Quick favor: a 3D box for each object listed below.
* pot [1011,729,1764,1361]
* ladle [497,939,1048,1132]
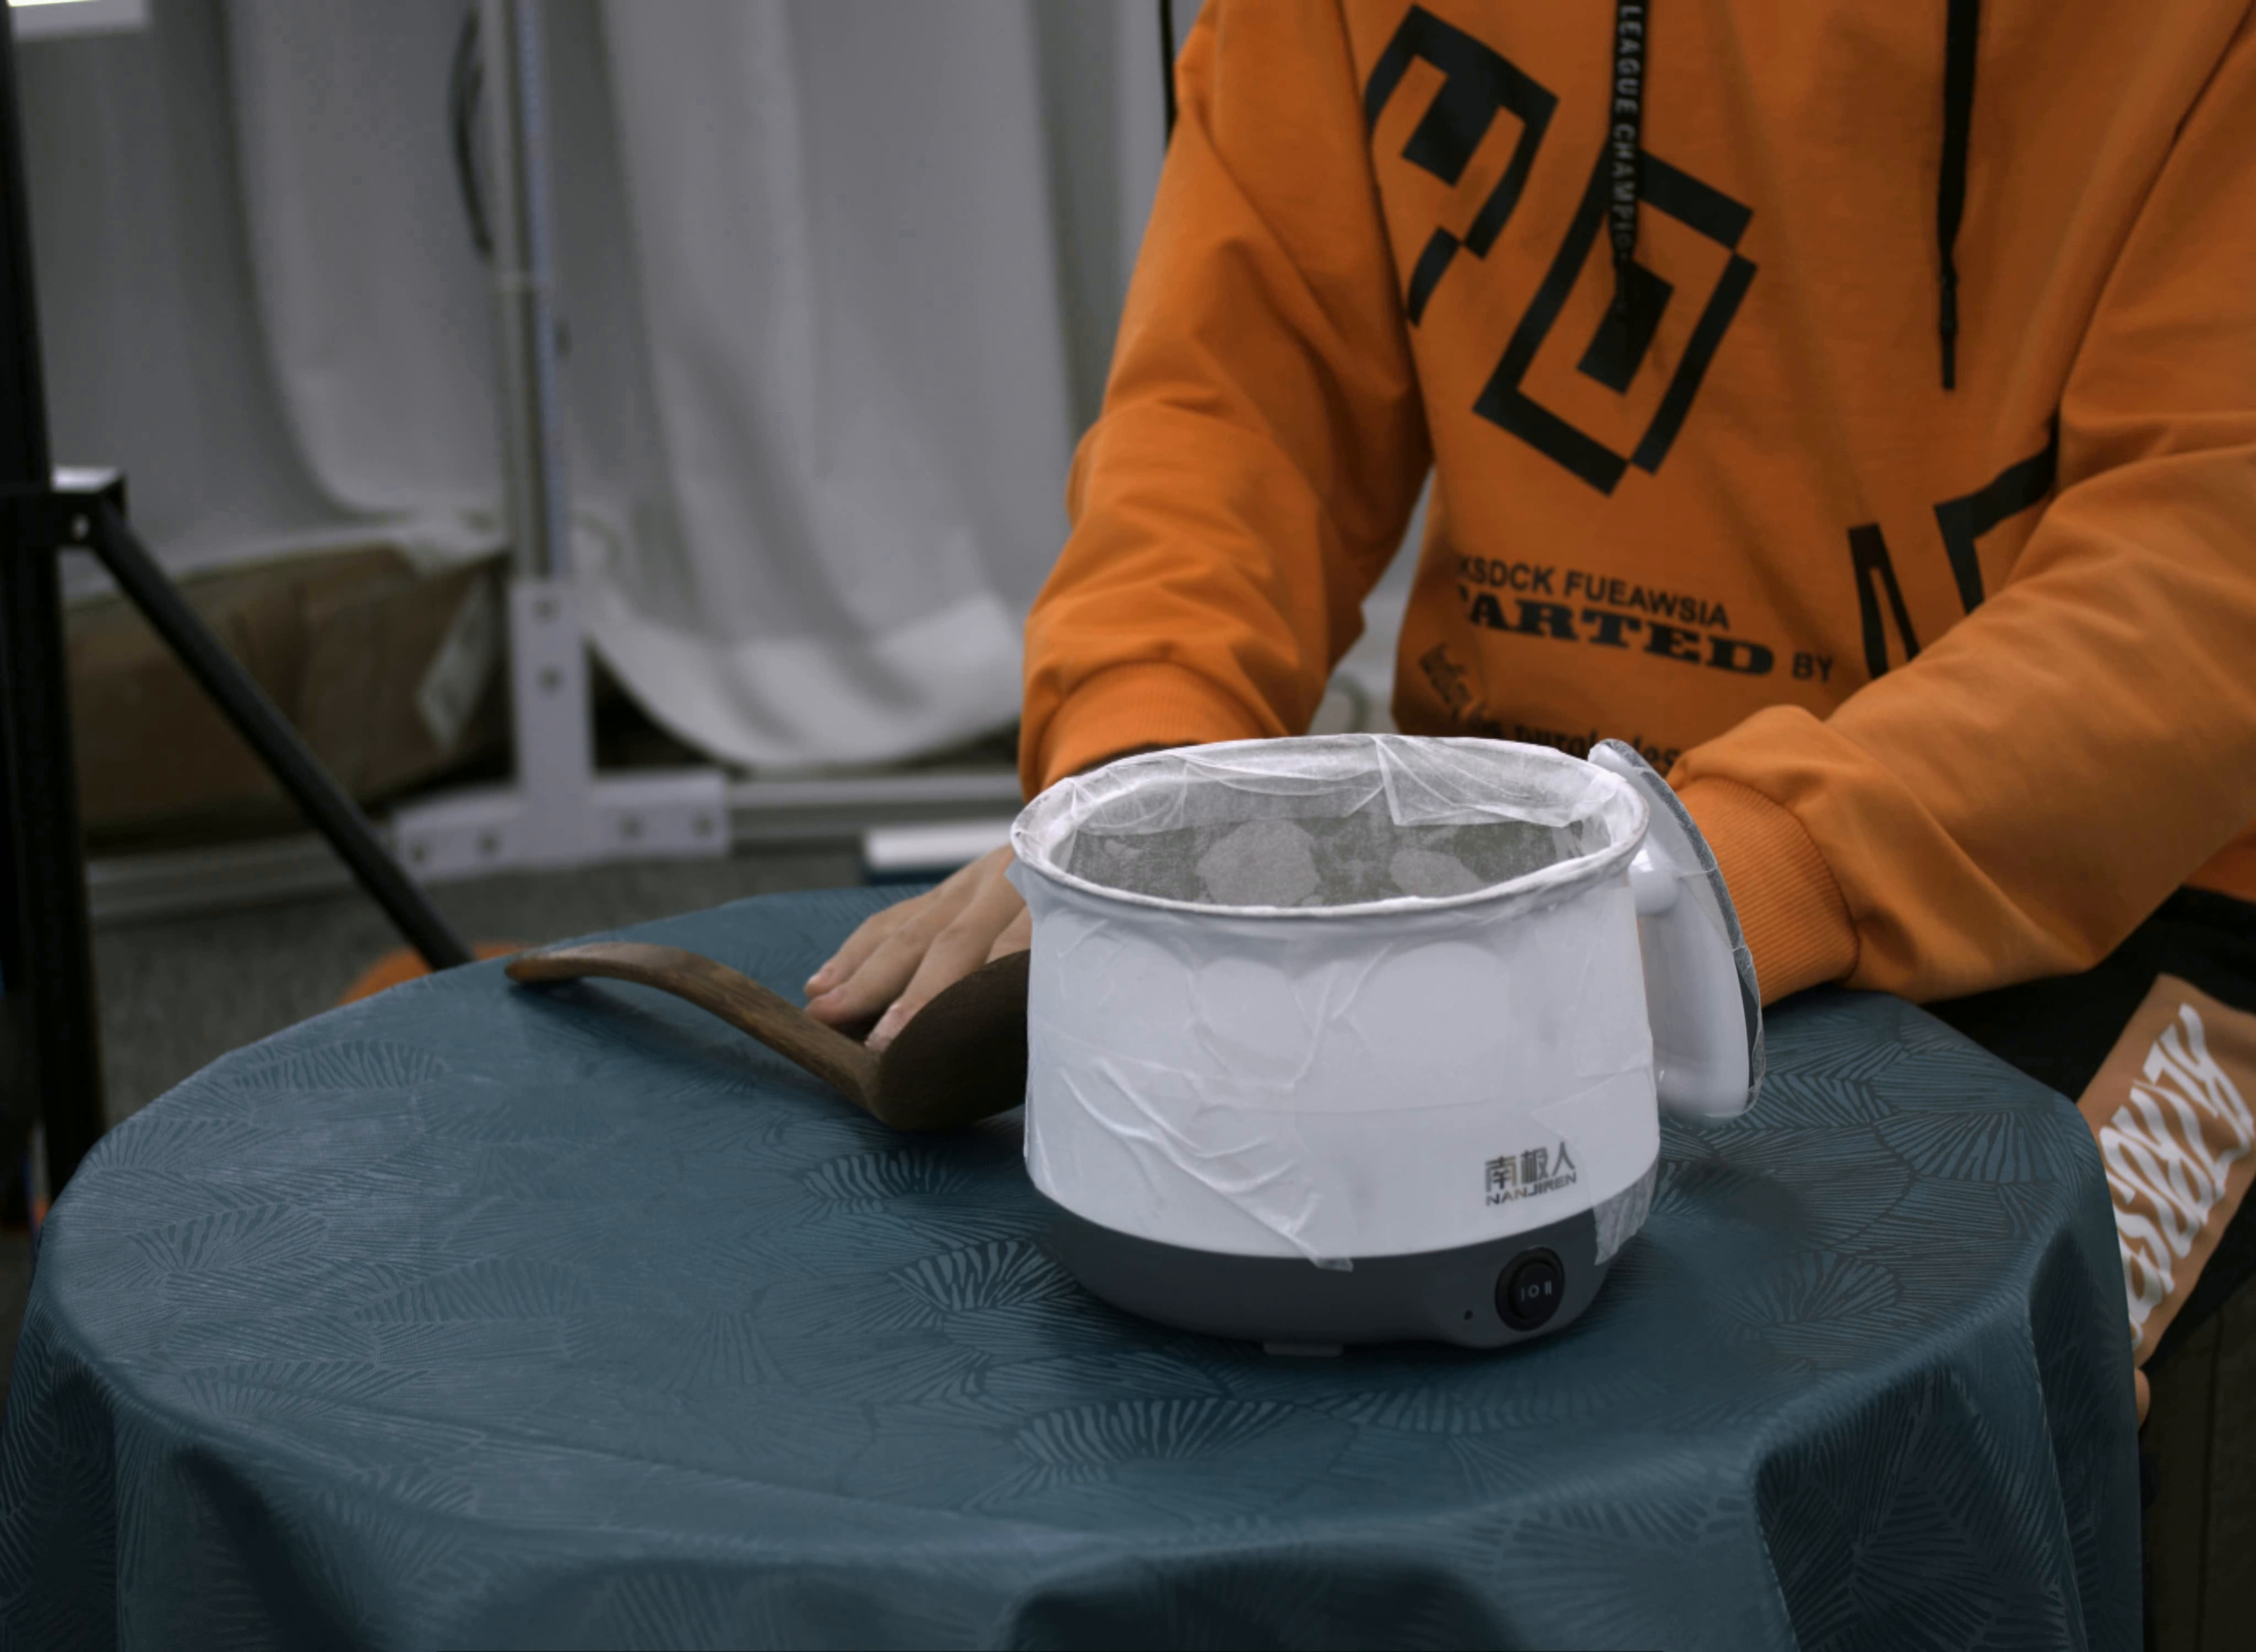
[{"bbox_3d":[0.081,0.053,1.484,0.228,0.136,0.183,-13,19,-32],"label":"pot"},{"bbox_3d":[-0.115,0.043,1.679,0.074,0.071,0.280,-8,16,-38],"label":"ladle"}]
